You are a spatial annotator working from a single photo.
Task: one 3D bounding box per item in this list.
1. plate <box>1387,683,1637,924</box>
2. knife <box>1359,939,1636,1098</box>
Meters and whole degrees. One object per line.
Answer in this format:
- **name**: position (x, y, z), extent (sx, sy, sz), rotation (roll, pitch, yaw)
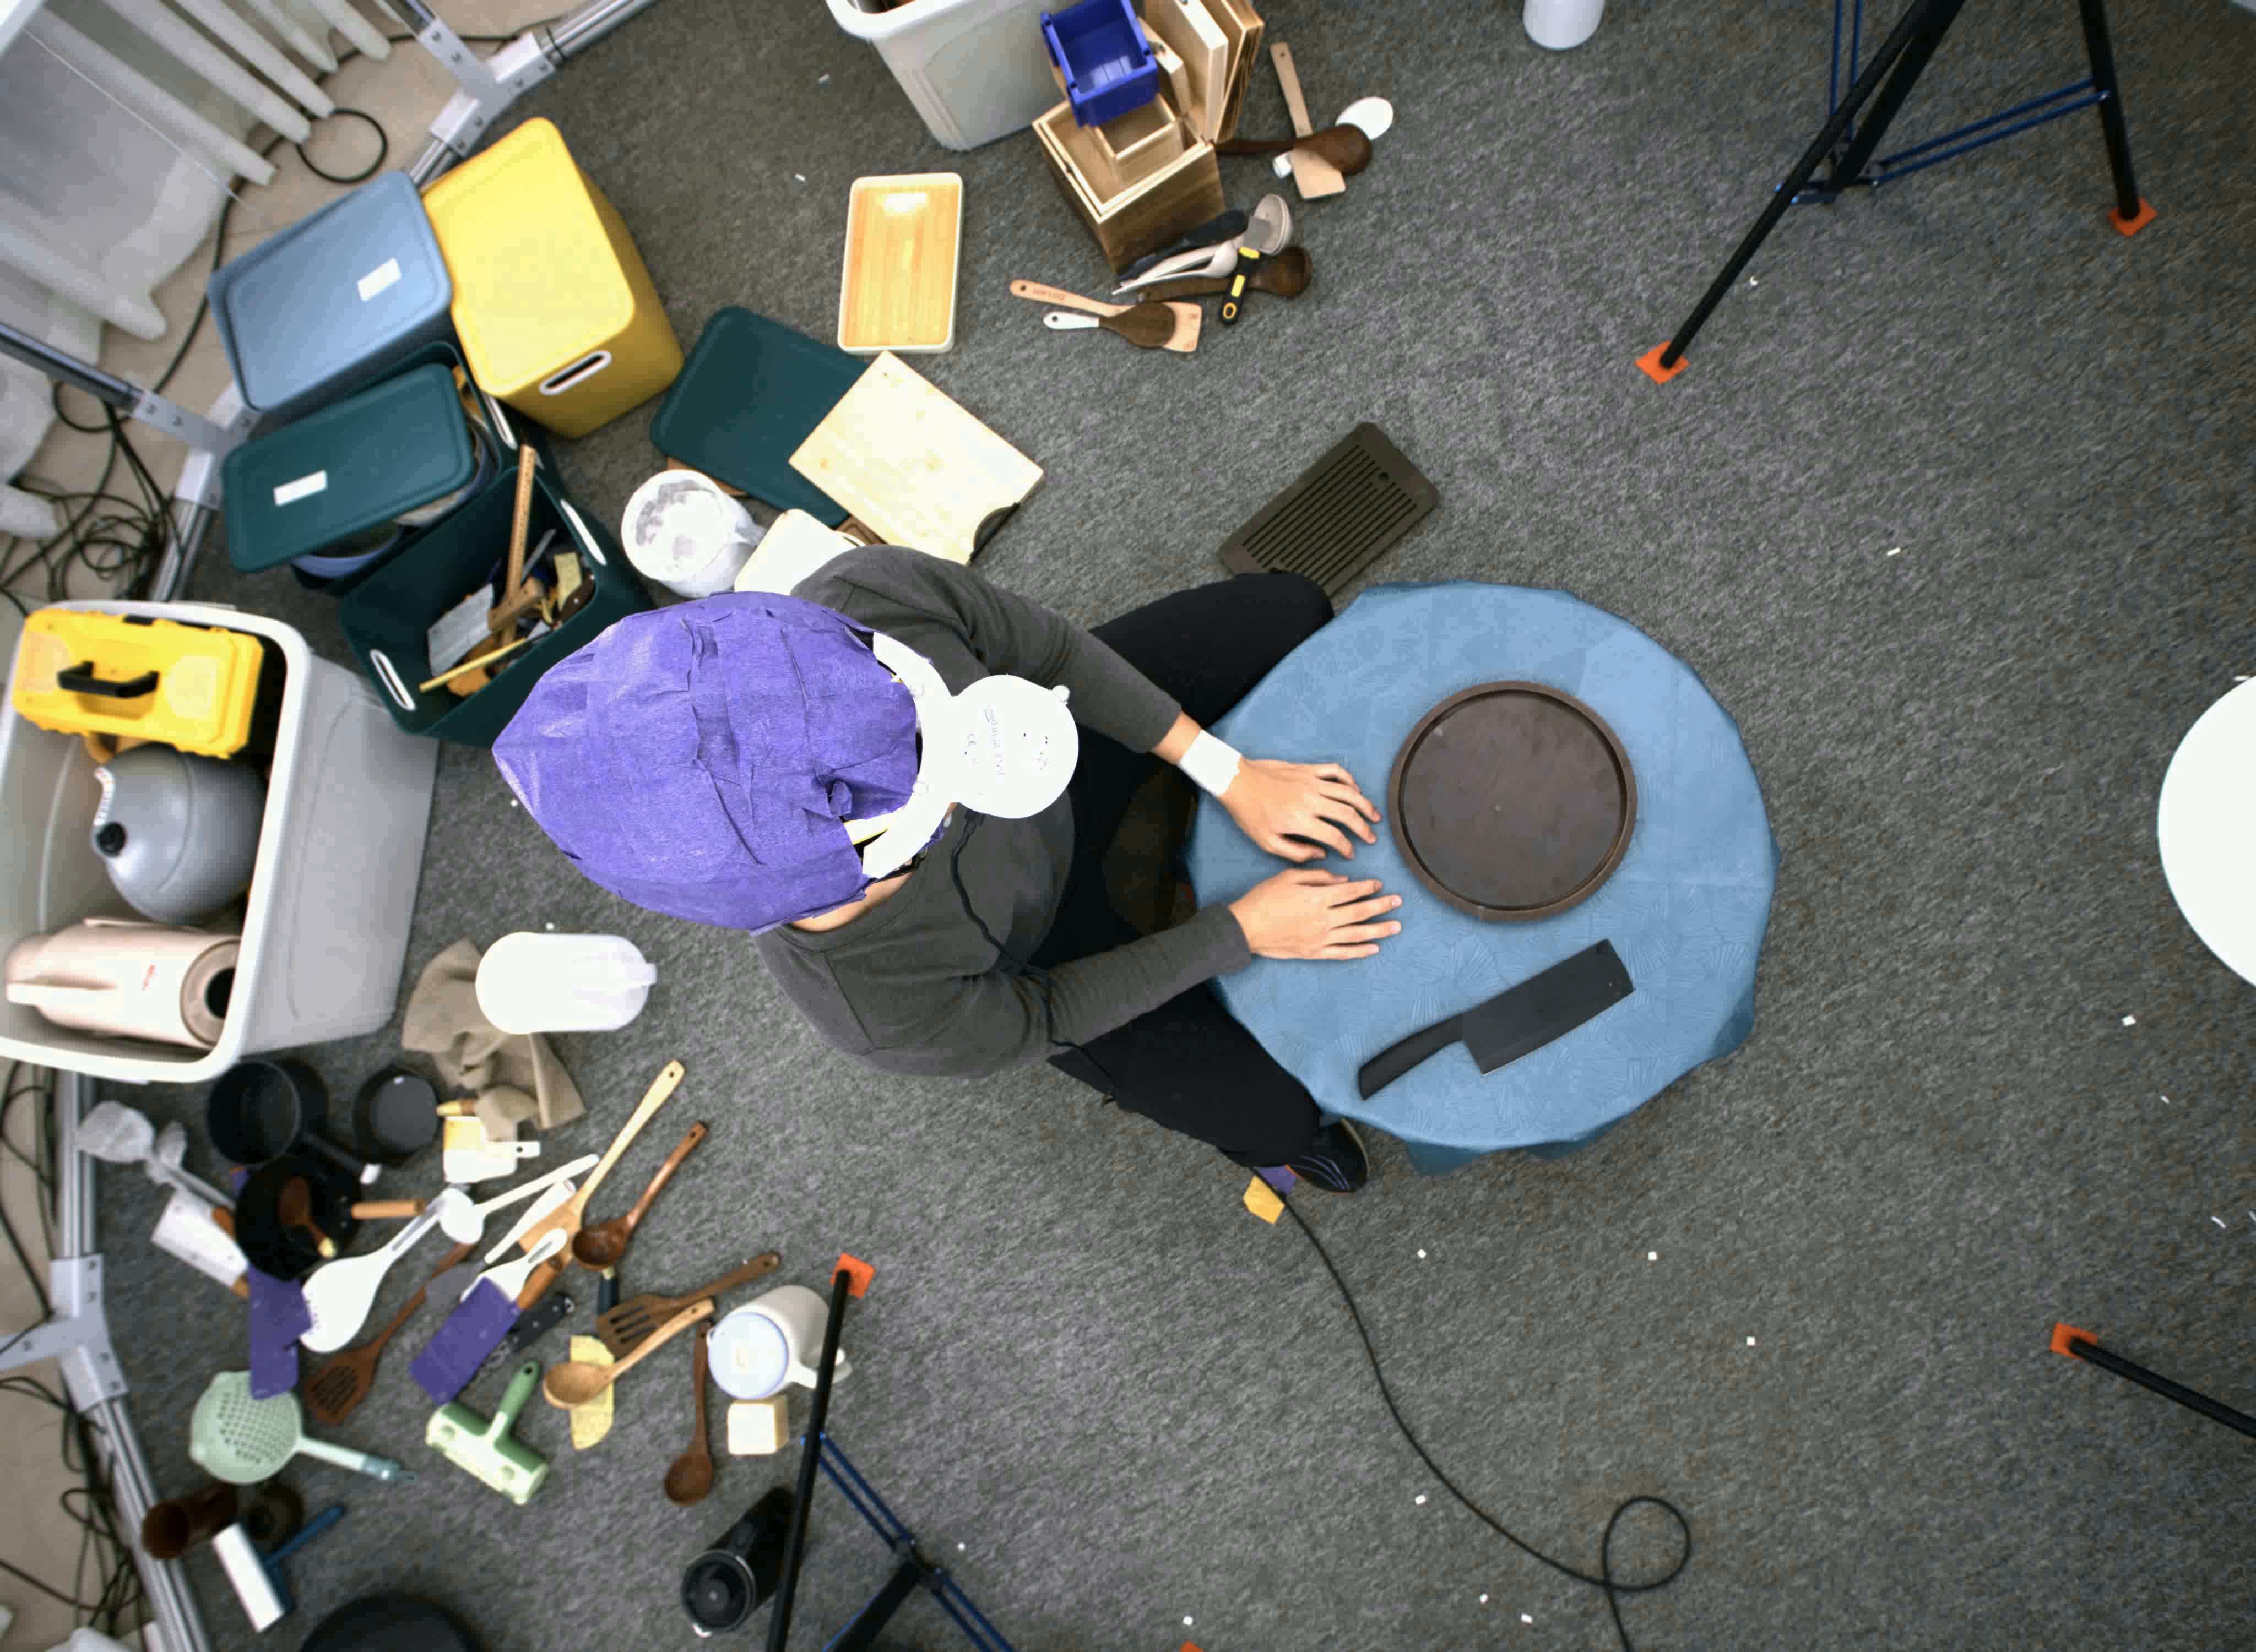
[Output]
- **plate**: position (0.398, -0.027, 1.430), extent (0.256, 0.029, 0.254), rotation (-1, 88, 10)
- **knife**: position (0.377, 0.208, 1.426), extent (0.304, 0.021, 0.080), rotation (-25, 84, 7)
